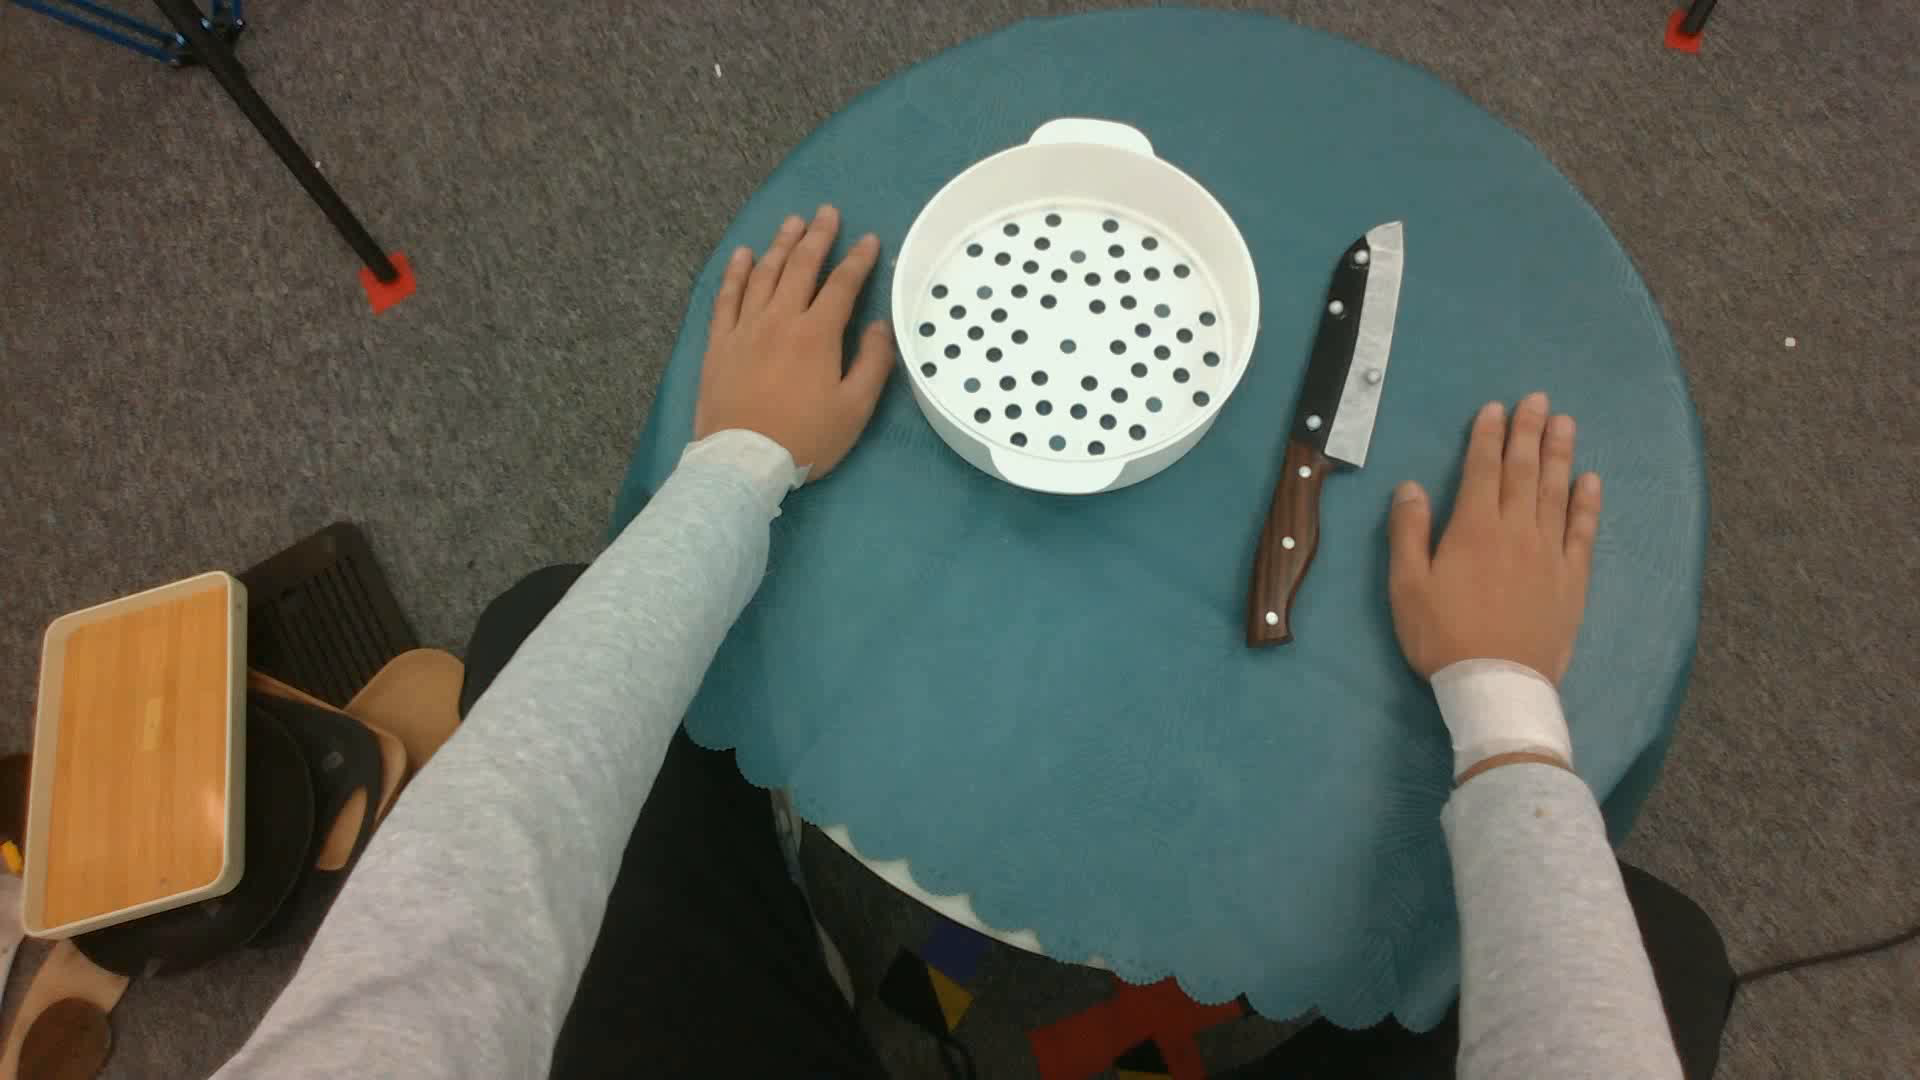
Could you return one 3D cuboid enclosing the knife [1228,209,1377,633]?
[{"bbox_3d":[0.200,-0.076,0.789,0.050,0.020,0.290,20,69,1],"label":"knife"}]

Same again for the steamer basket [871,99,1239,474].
[{"bbox_3d":[0.052,-0.136,0.781,0.202,0.069,0.231,6,72,2],"label":"steamer basket"}]
